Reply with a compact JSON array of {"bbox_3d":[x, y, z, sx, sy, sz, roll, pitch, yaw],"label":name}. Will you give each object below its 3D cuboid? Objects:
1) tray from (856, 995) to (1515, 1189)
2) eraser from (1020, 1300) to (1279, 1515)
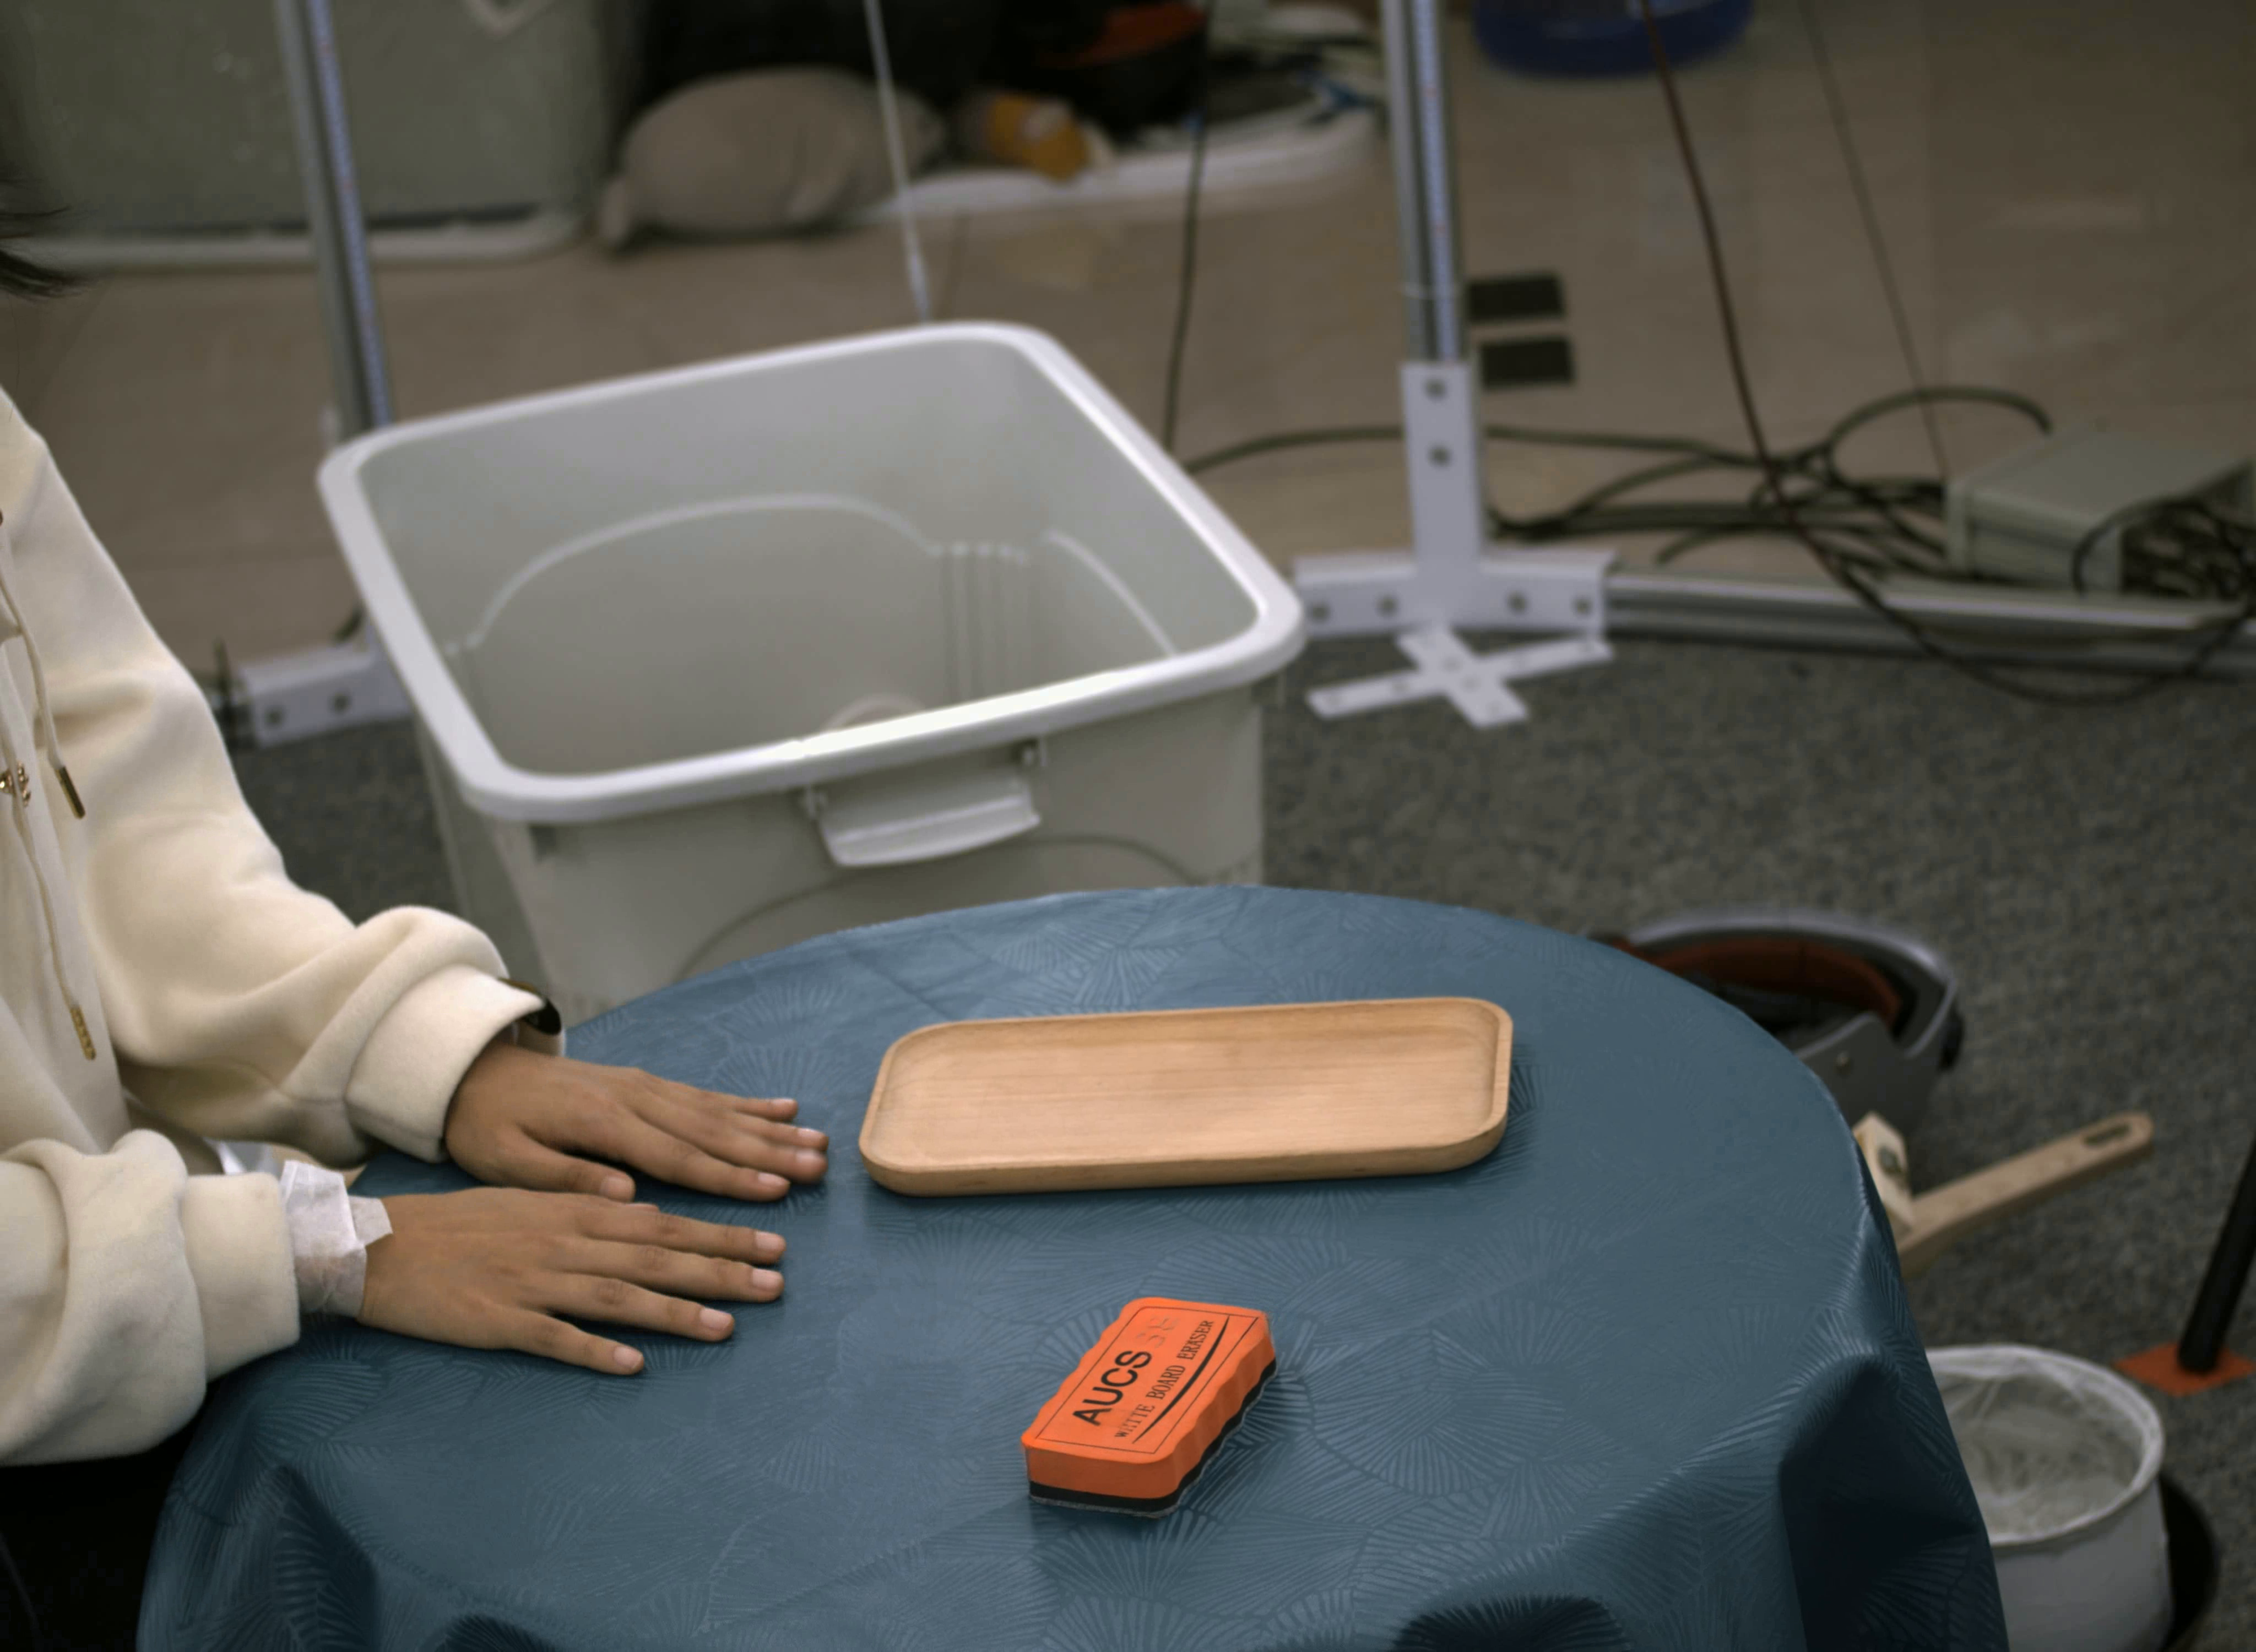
[{"bbox_3d":[0.023,0.104,2.197,0.250,0.023,0.129,-3,22,9],"label":"tray"},{"bbox_3d":[0.008,0.202,1.982,0.059,0.023,0.106,6,27,24],"label":"eraser"}]
